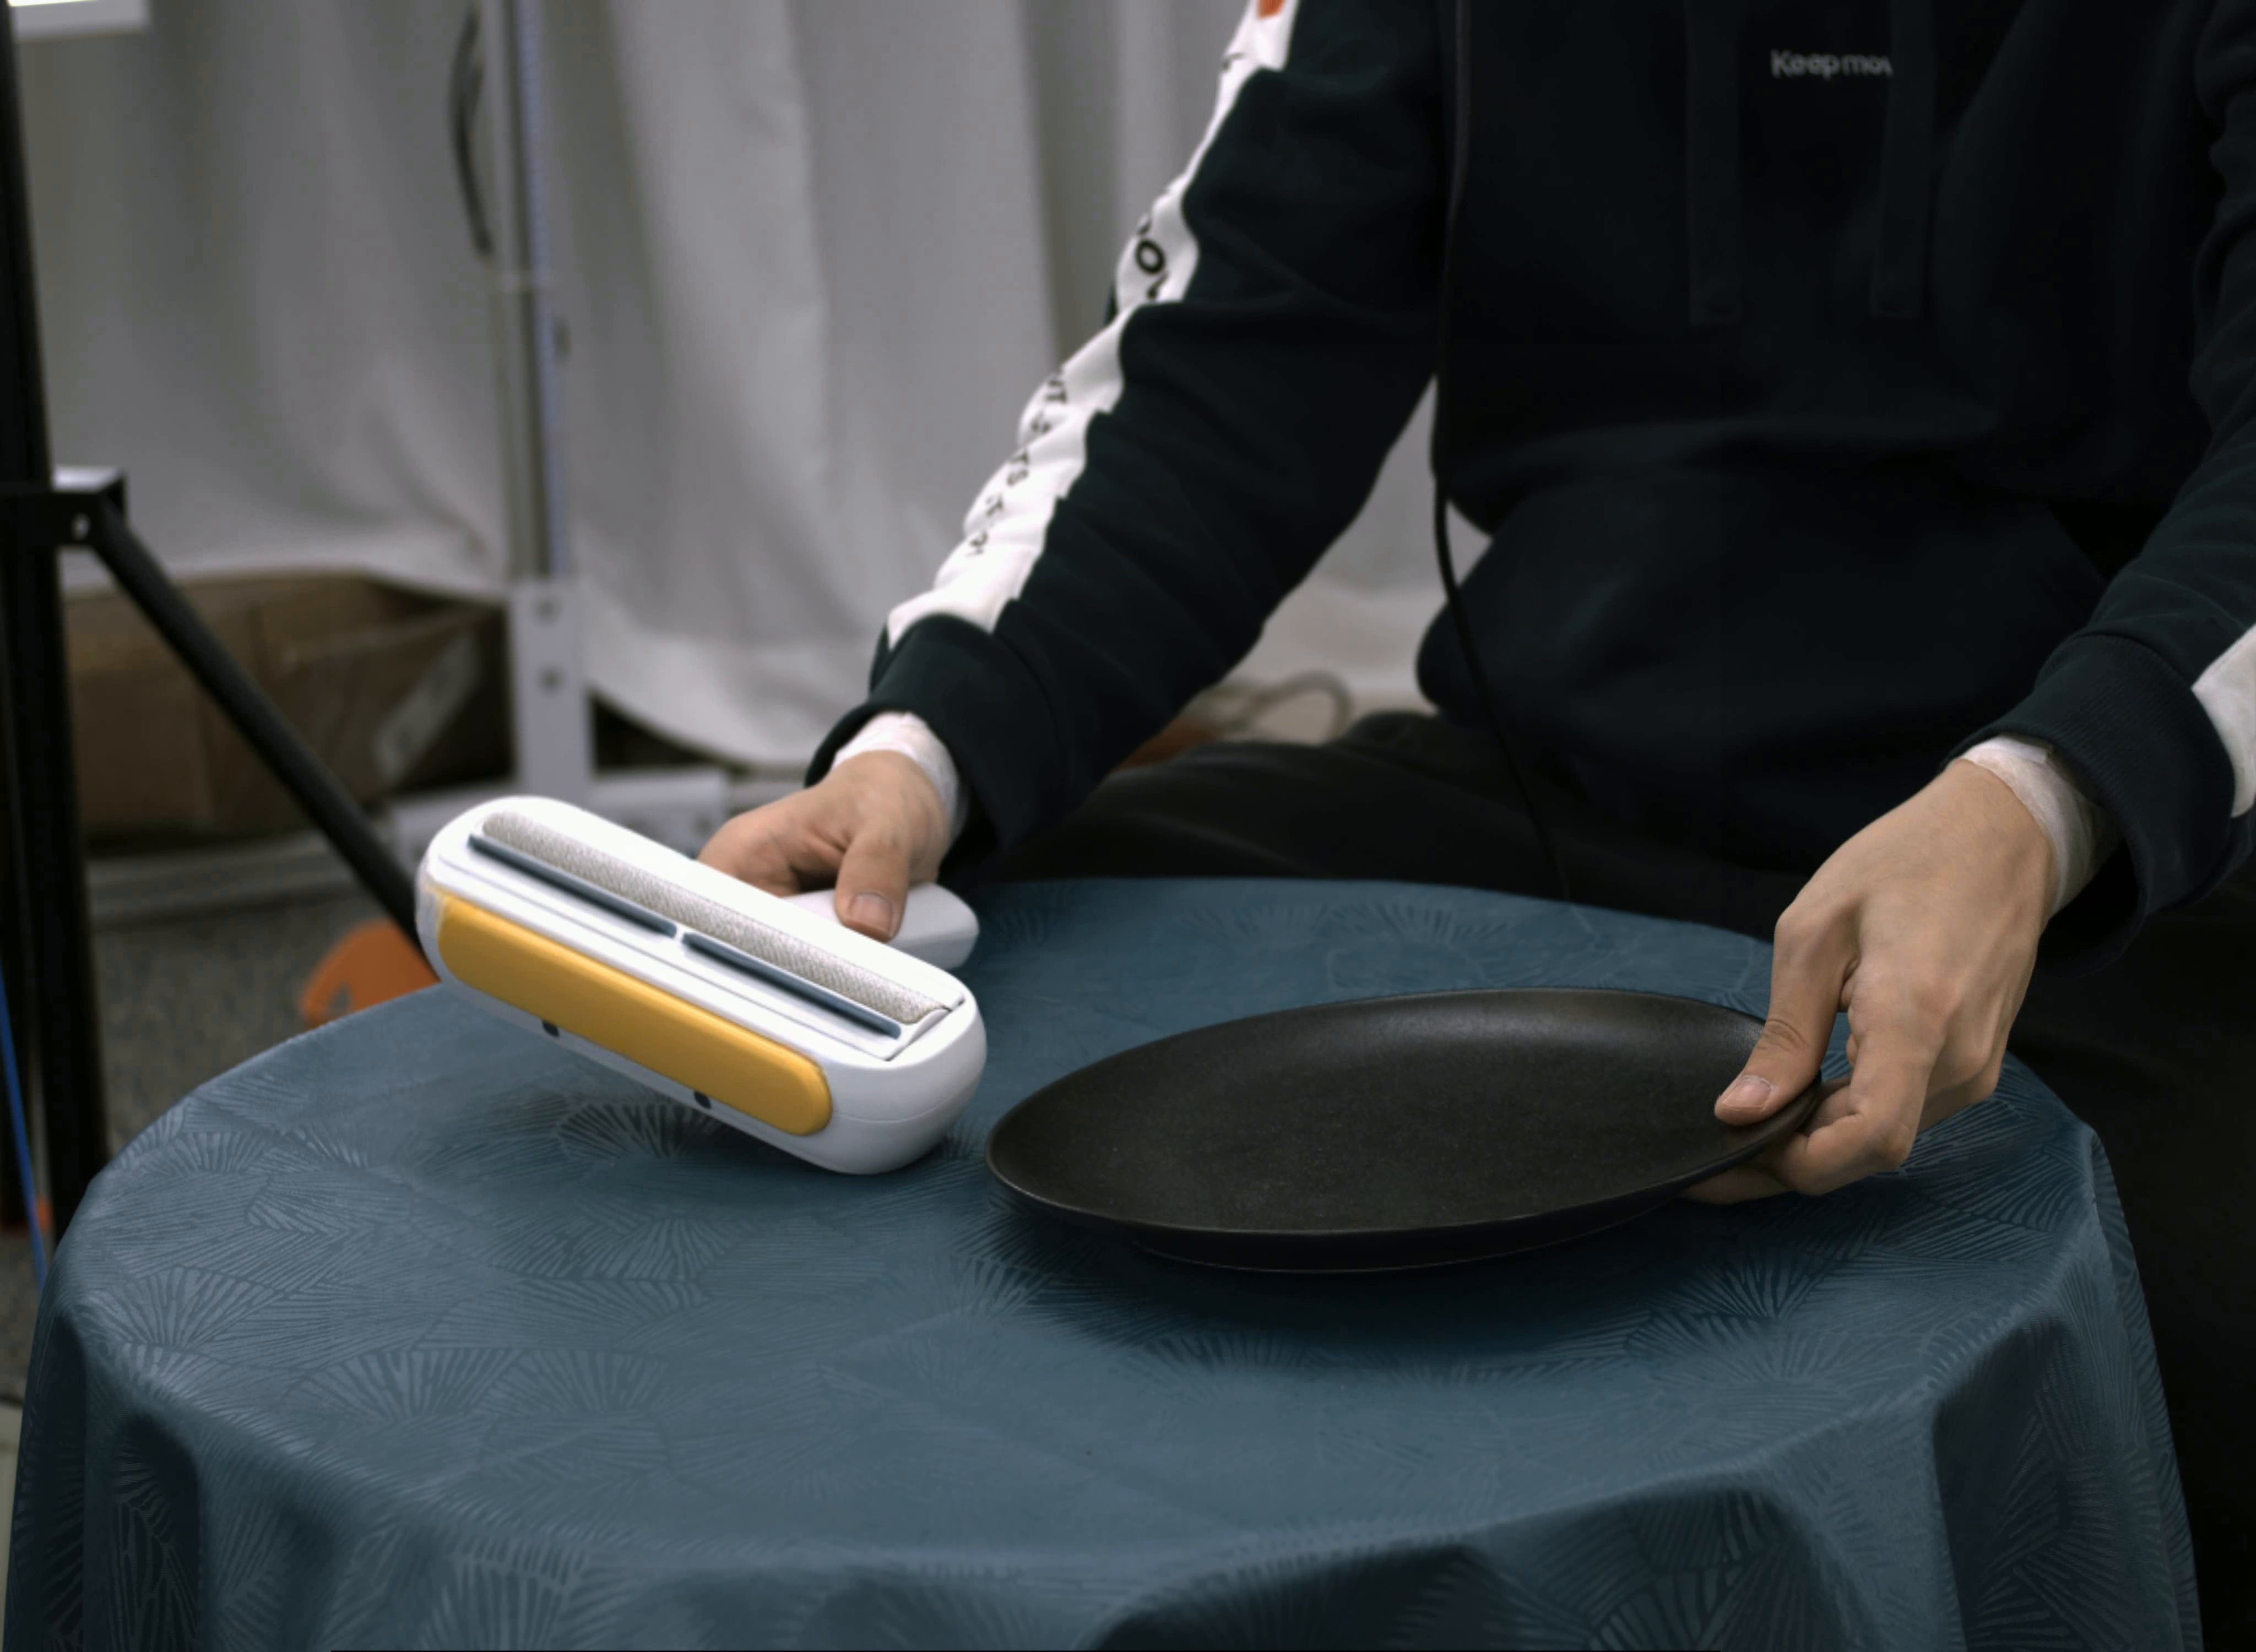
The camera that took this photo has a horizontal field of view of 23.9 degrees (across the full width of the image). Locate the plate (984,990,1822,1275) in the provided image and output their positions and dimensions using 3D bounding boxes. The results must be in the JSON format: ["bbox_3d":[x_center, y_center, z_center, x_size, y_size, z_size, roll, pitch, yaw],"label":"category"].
[{"bbox_3d":[0.079,0.091,1.535,0.243,0.023,0.245,-7,13,0],"label":"plate"}]

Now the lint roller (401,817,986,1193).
[{"bbox_3d":[-0.108,0.056,1.677,0.197,0.074,0.188,22,15,32],"label":"lint roller"}]
